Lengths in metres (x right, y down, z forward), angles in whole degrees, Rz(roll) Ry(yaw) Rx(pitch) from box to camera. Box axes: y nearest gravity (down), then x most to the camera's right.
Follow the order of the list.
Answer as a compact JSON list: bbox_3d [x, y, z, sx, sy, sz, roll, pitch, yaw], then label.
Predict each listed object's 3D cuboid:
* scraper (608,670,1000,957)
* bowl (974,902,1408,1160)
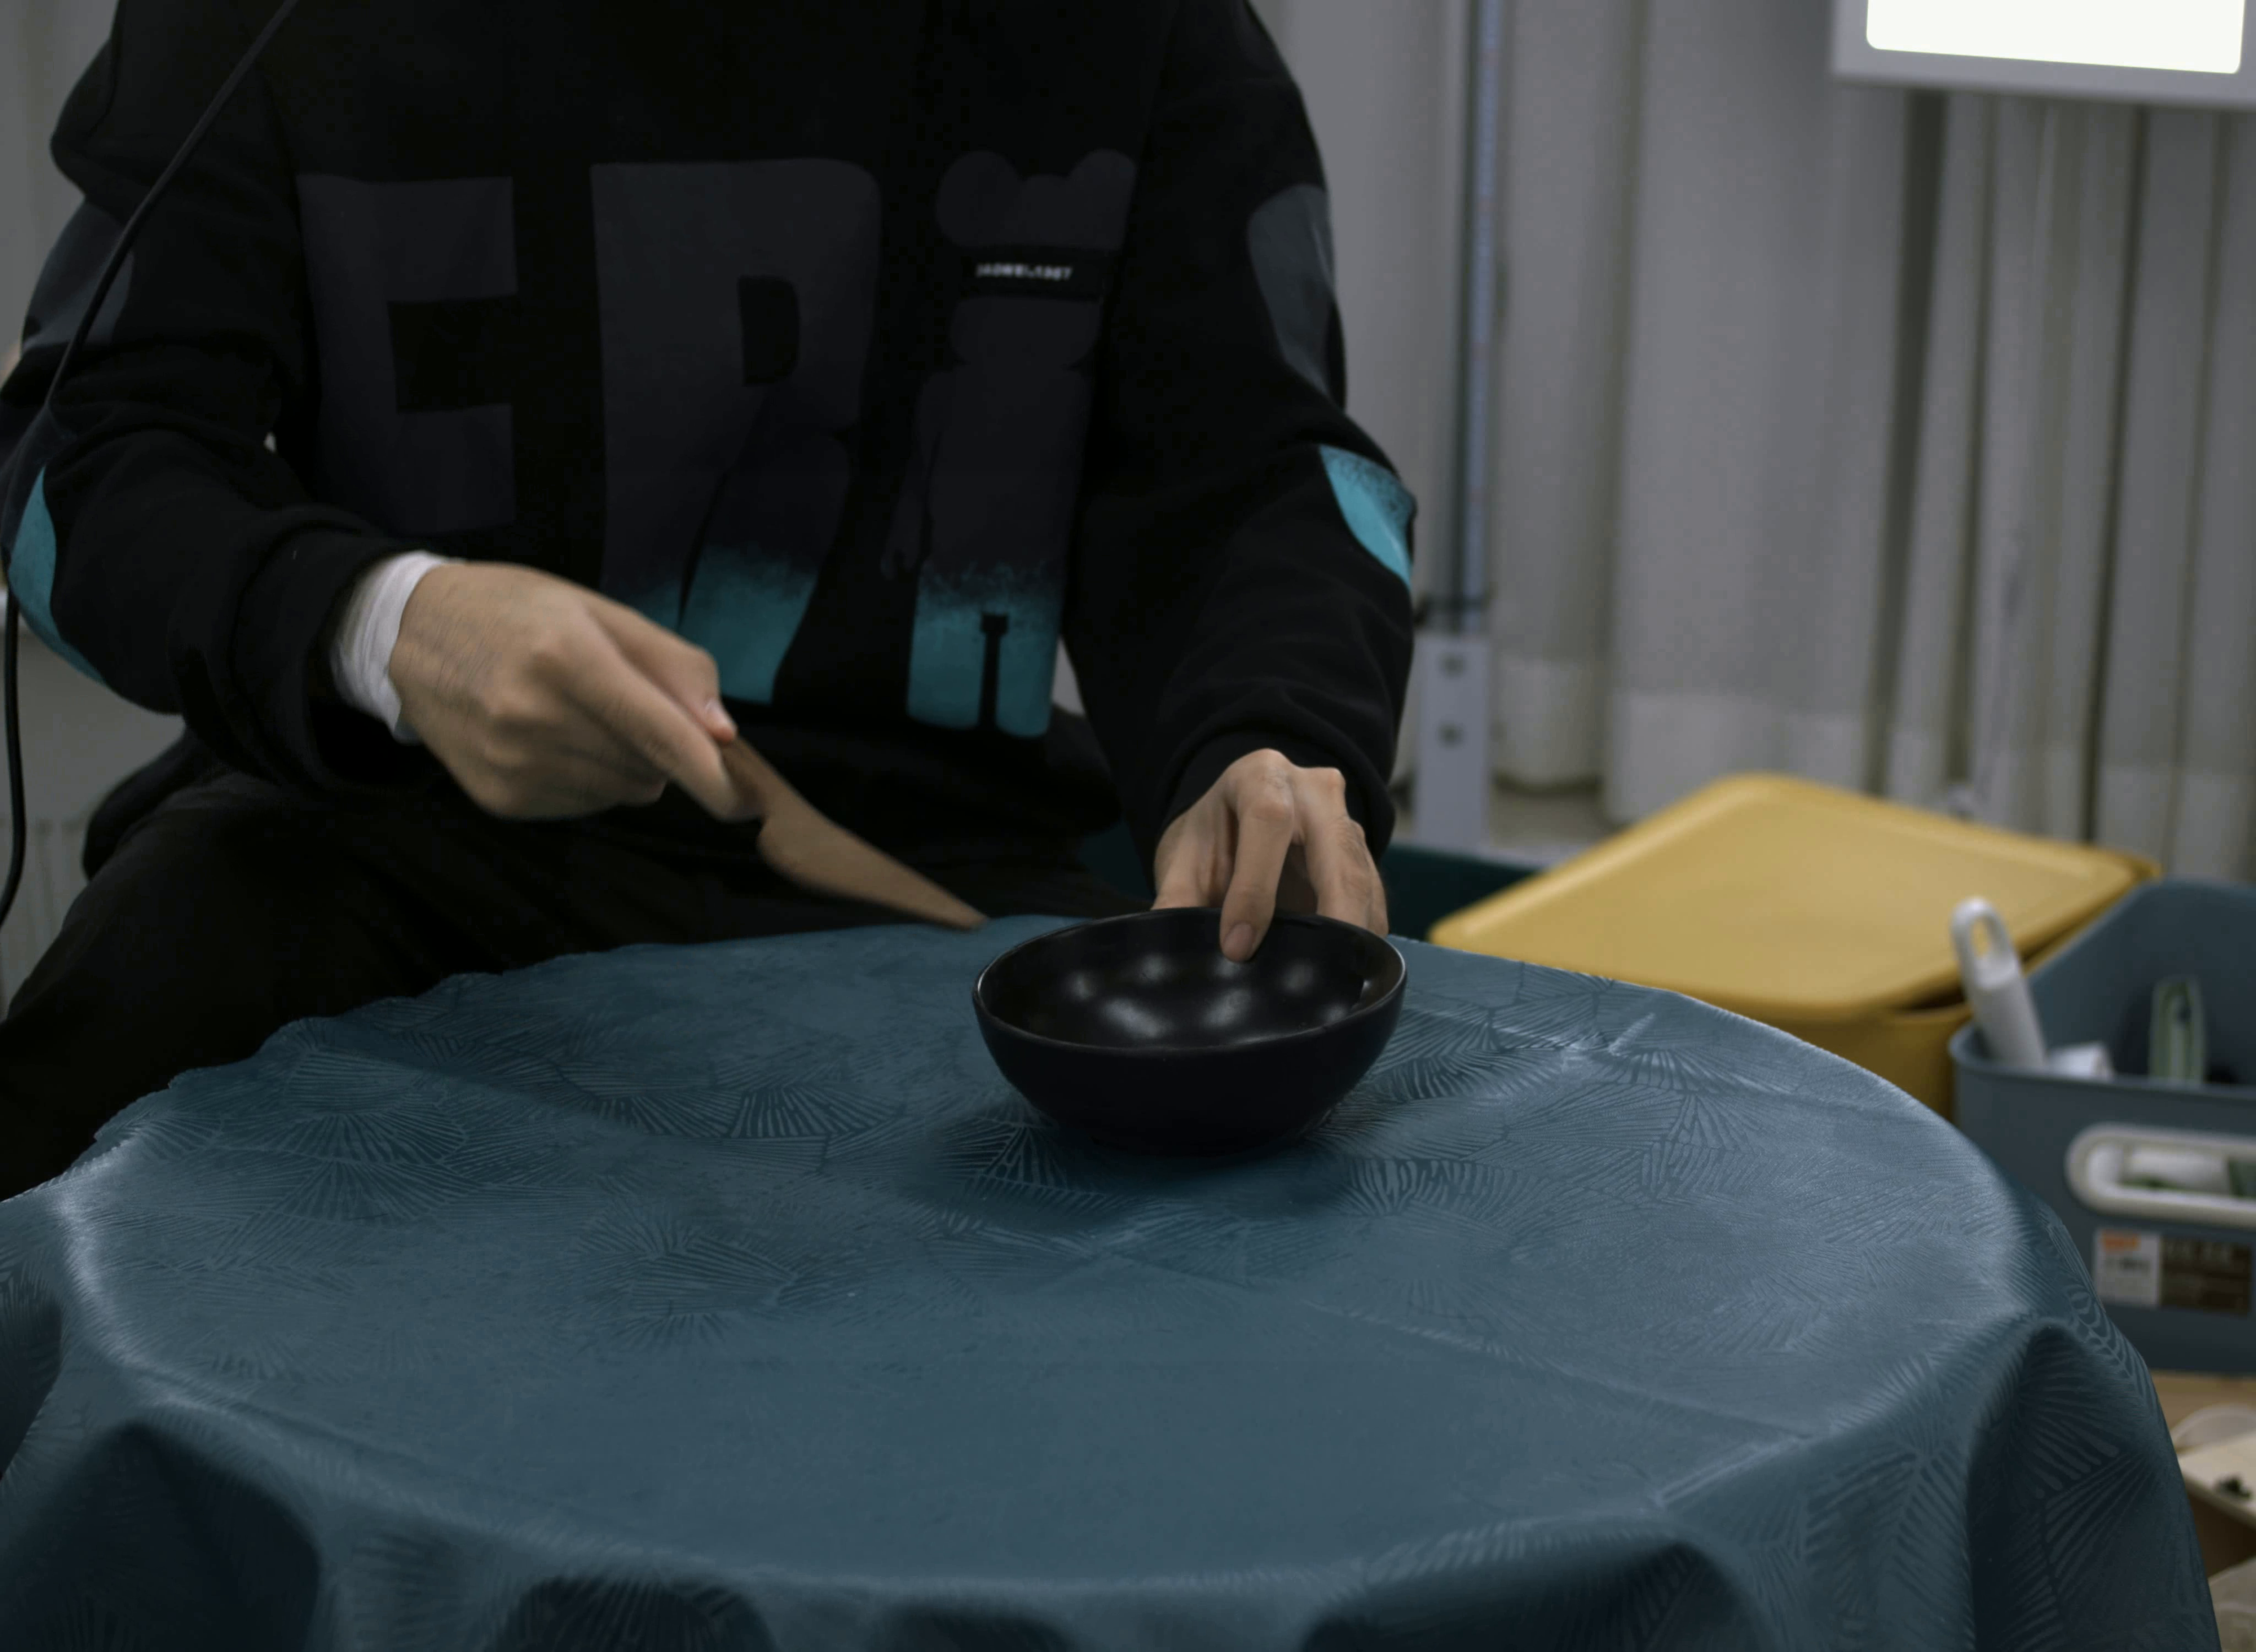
[{"bbox_3d":[-0.113,-0.006,1.645,0.076,0.011,0.208,17,15,-36],"label":"scraper"},{"bbox_3d":[0.022,0.071,1.679,0.139,0.050,0.139,-4,19,2],"label":"bowl"}]
